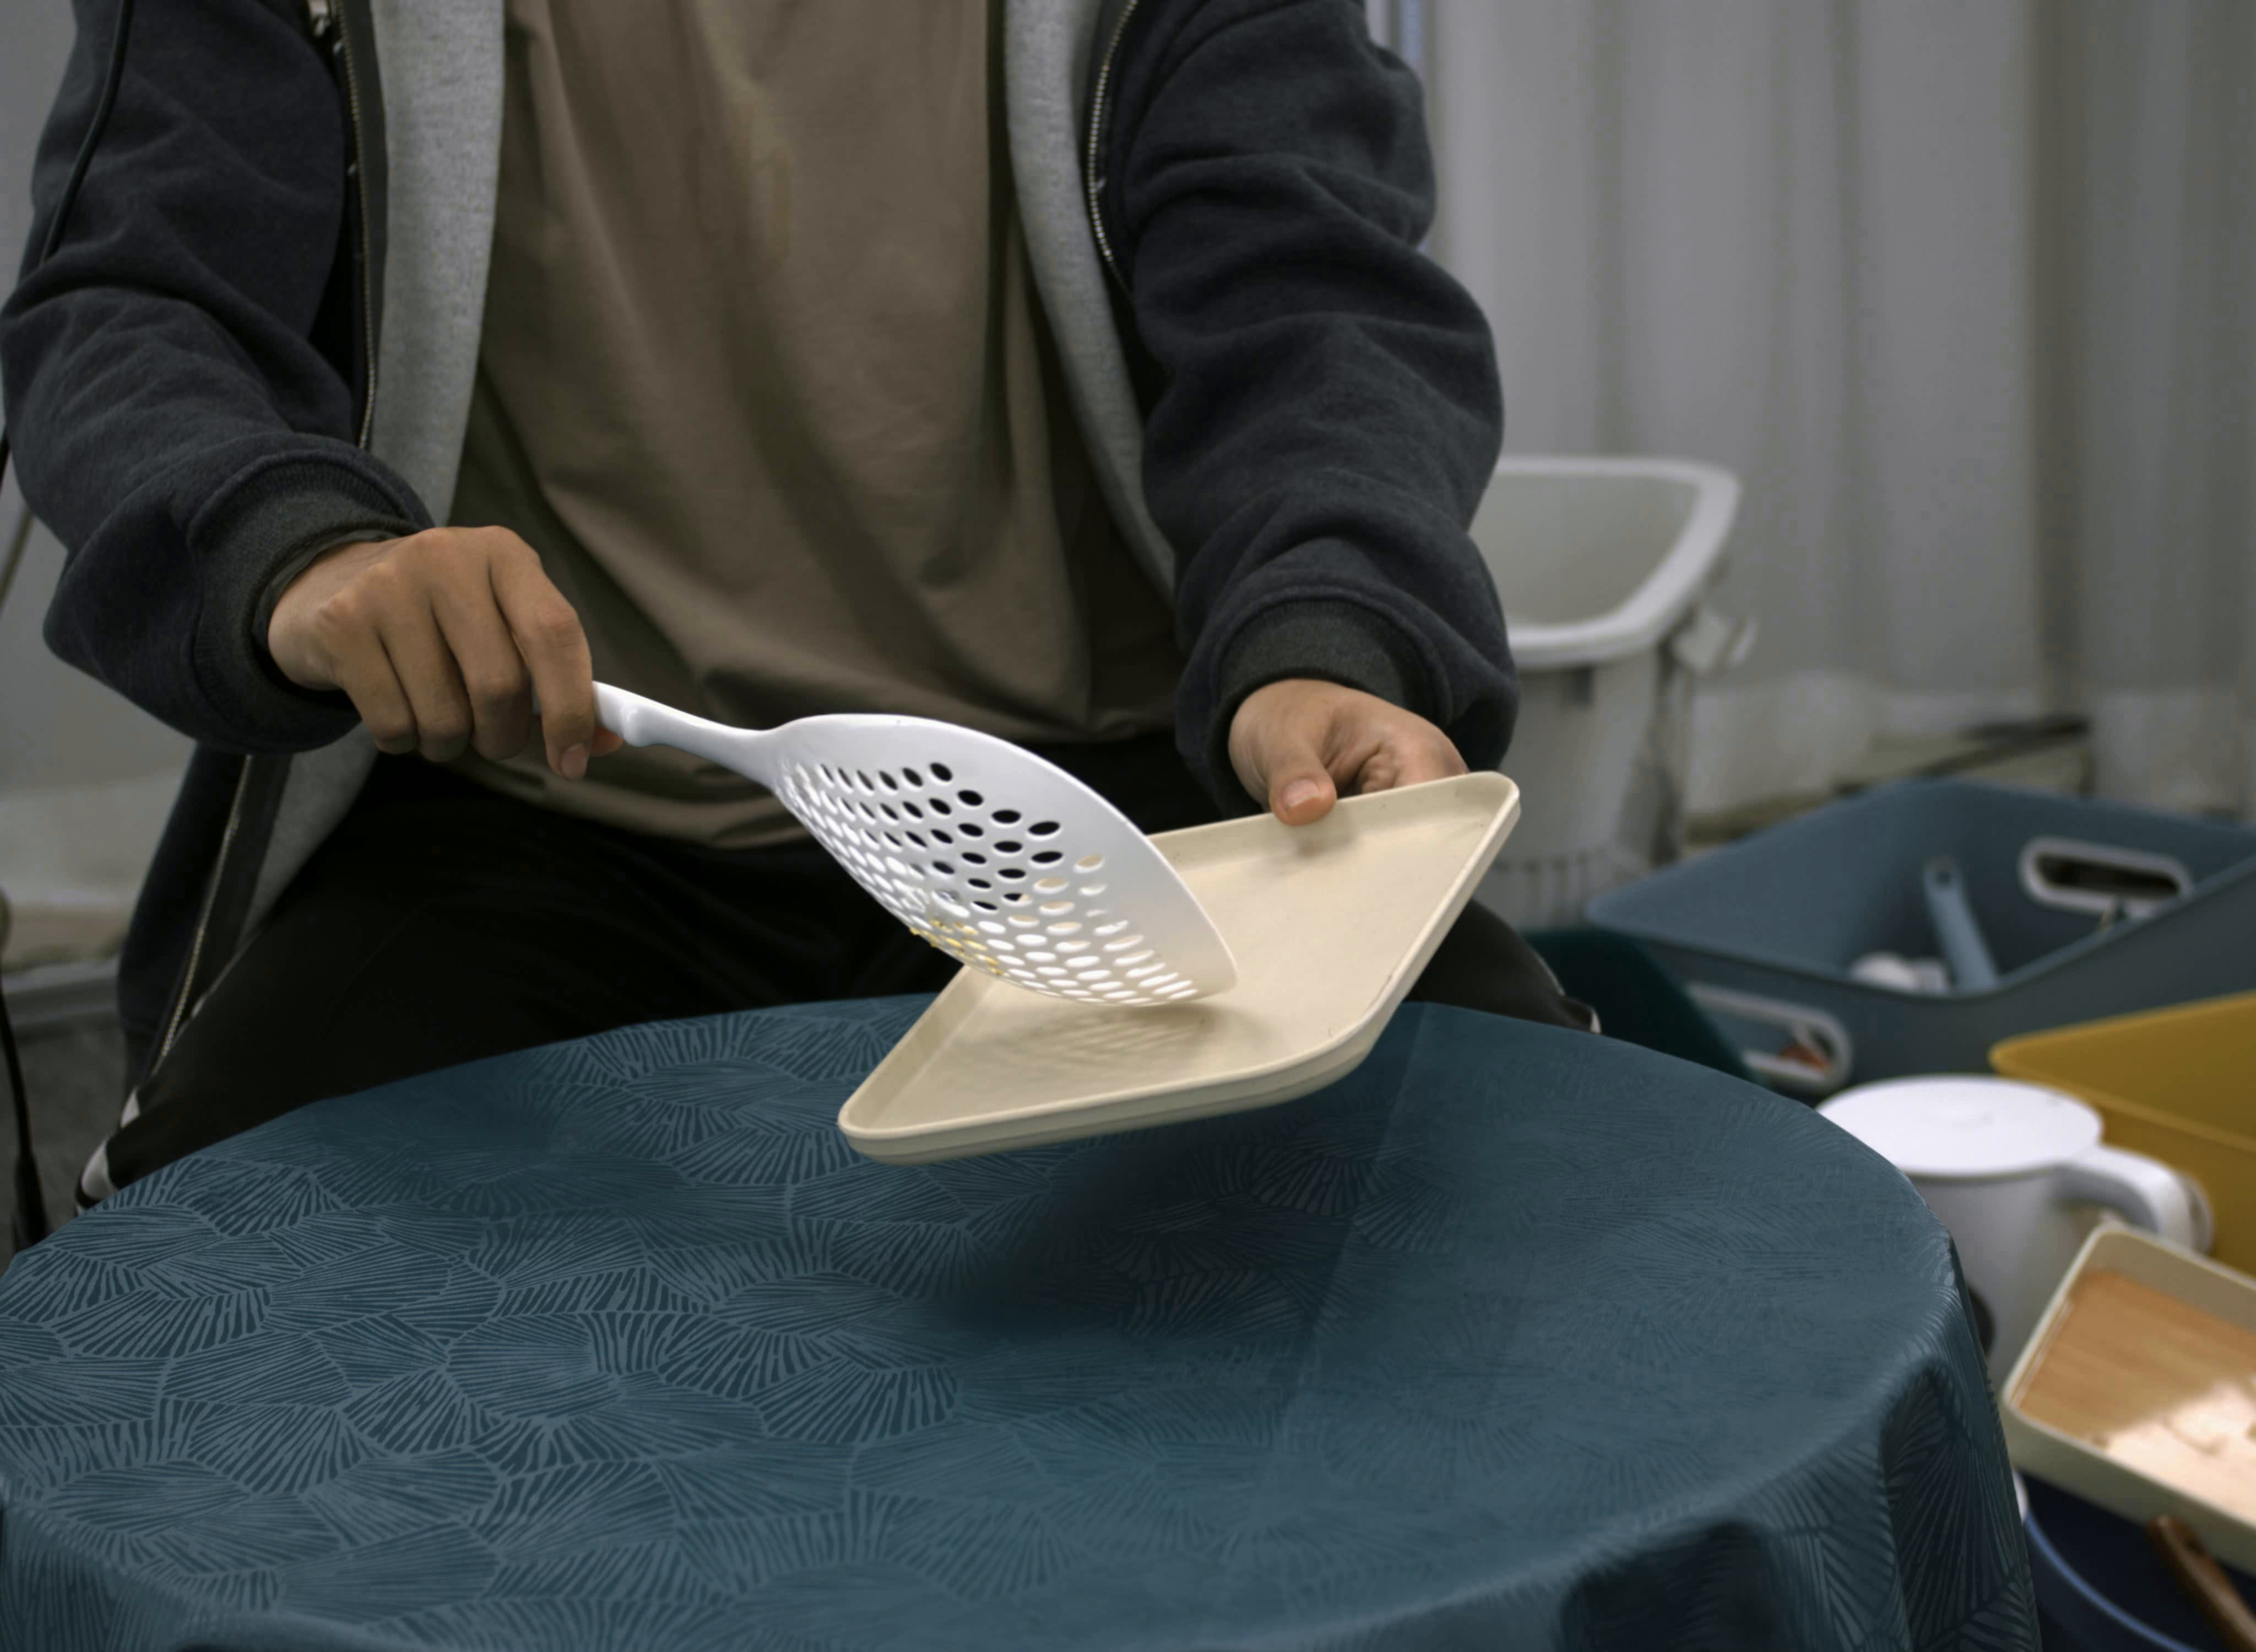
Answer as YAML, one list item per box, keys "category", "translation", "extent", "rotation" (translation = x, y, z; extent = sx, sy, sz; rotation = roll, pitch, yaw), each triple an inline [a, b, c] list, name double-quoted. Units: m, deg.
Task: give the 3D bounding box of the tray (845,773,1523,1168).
- category: "tray"
  translation: [0.022, 0.043, 1.665]
  extent: [0.171, 0.017, 0.241]
  rotation: [-12, 17, 22]

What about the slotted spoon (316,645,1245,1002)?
- category: "slotted spoon"
  translation: [-0.116, -0.013, 1.680]
  extent: [0.350, 0.135, 0.050]
  rotation: [23, 70, 37]
